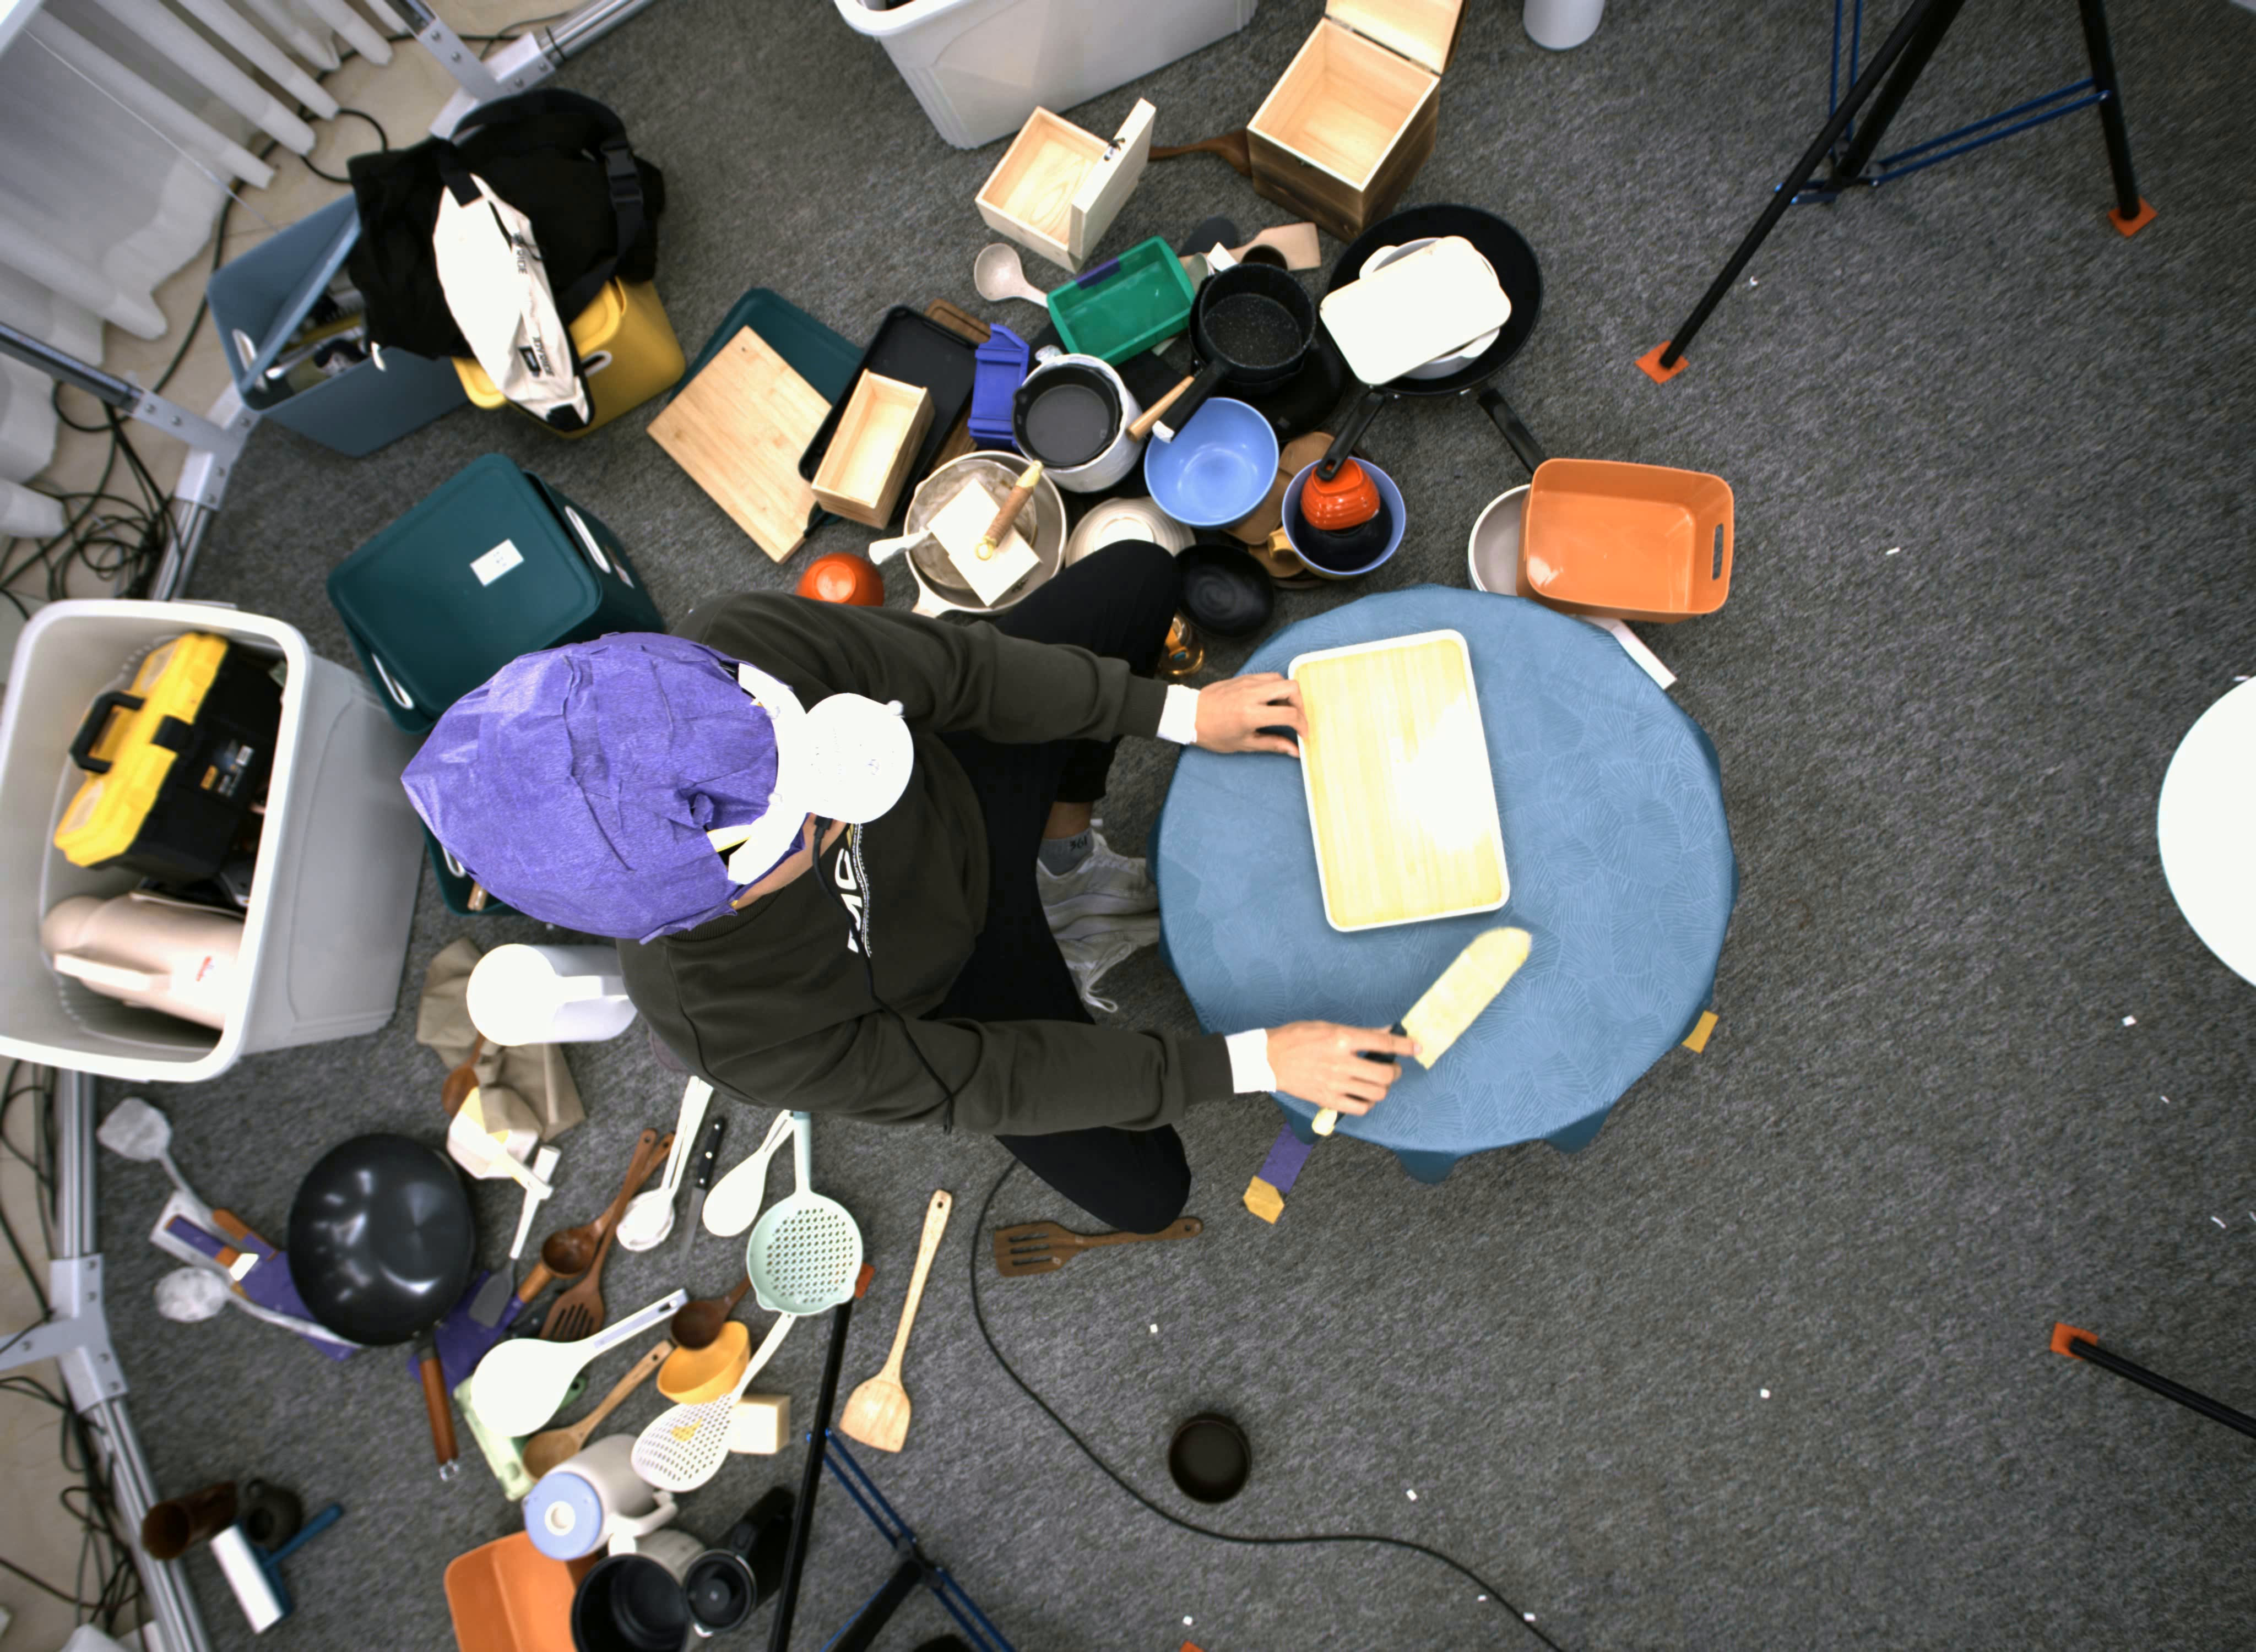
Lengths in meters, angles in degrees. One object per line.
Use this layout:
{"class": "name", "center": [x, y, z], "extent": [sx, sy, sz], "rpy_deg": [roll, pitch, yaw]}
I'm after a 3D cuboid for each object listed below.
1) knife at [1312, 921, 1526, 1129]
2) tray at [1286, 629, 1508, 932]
{"class": "knife", "center": [0.295, 0.199, 1.379], "extent": [0.290, 0.027, 0.082], "rpy_deg": [-45, 120, 2]}
{"class": "tray", "center": [0.282, -0.049, 1.451], "extent": [0.192, 0.027, 0.298], "rpy_deg": [-9, 85, 11]}
